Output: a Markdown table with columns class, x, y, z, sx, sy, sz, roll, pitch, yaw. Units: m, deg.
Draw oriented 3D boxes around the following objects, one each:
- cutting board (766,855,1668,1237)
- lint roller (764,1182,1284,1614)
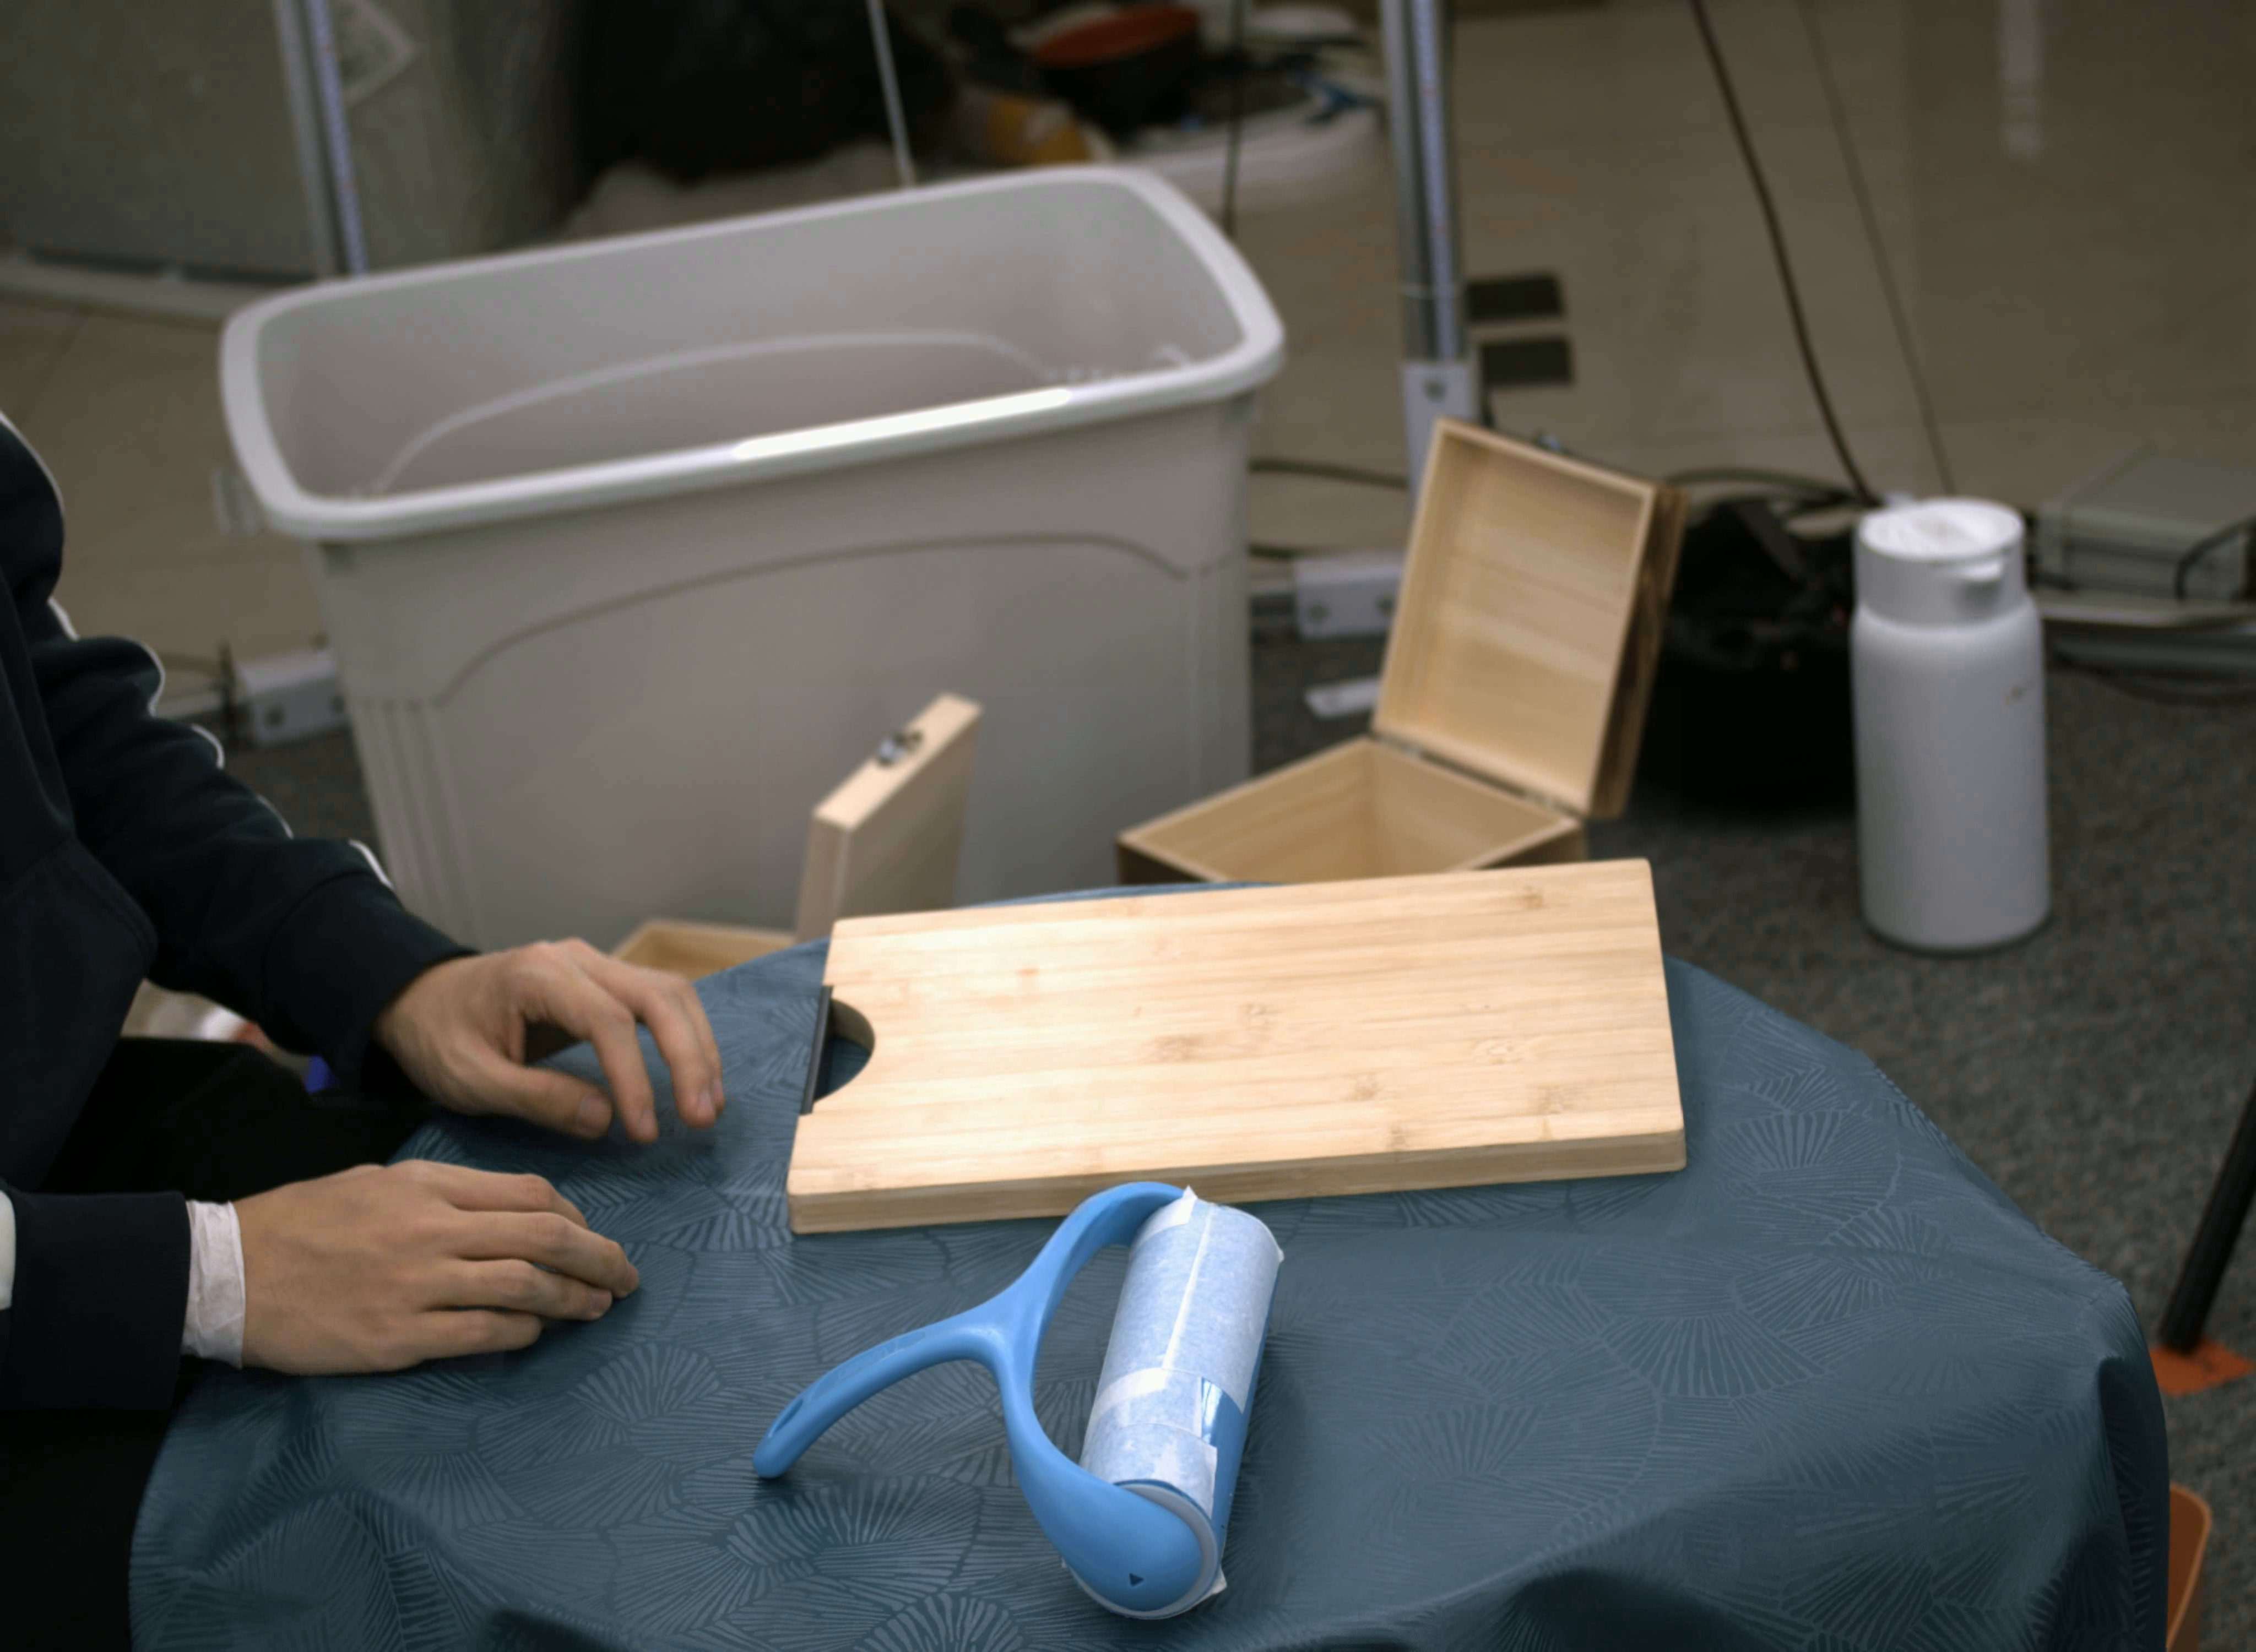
| class | x | y | z | sx | sy | sz | roll | pitch | yaw |
| --- | --- | --- | --- | --- | --- | --- | --- | --- | --- |
| cutting board | 0.039 | 0.085 | 2.232 | 0.348 | 0.024 | 0.247 | -5 | 25 | 3 |
| lint roller | -0.041 | 0.198 | 1.959 | 0.180 | 0.069 | 0.225 | -3 | 27 | 6 |
